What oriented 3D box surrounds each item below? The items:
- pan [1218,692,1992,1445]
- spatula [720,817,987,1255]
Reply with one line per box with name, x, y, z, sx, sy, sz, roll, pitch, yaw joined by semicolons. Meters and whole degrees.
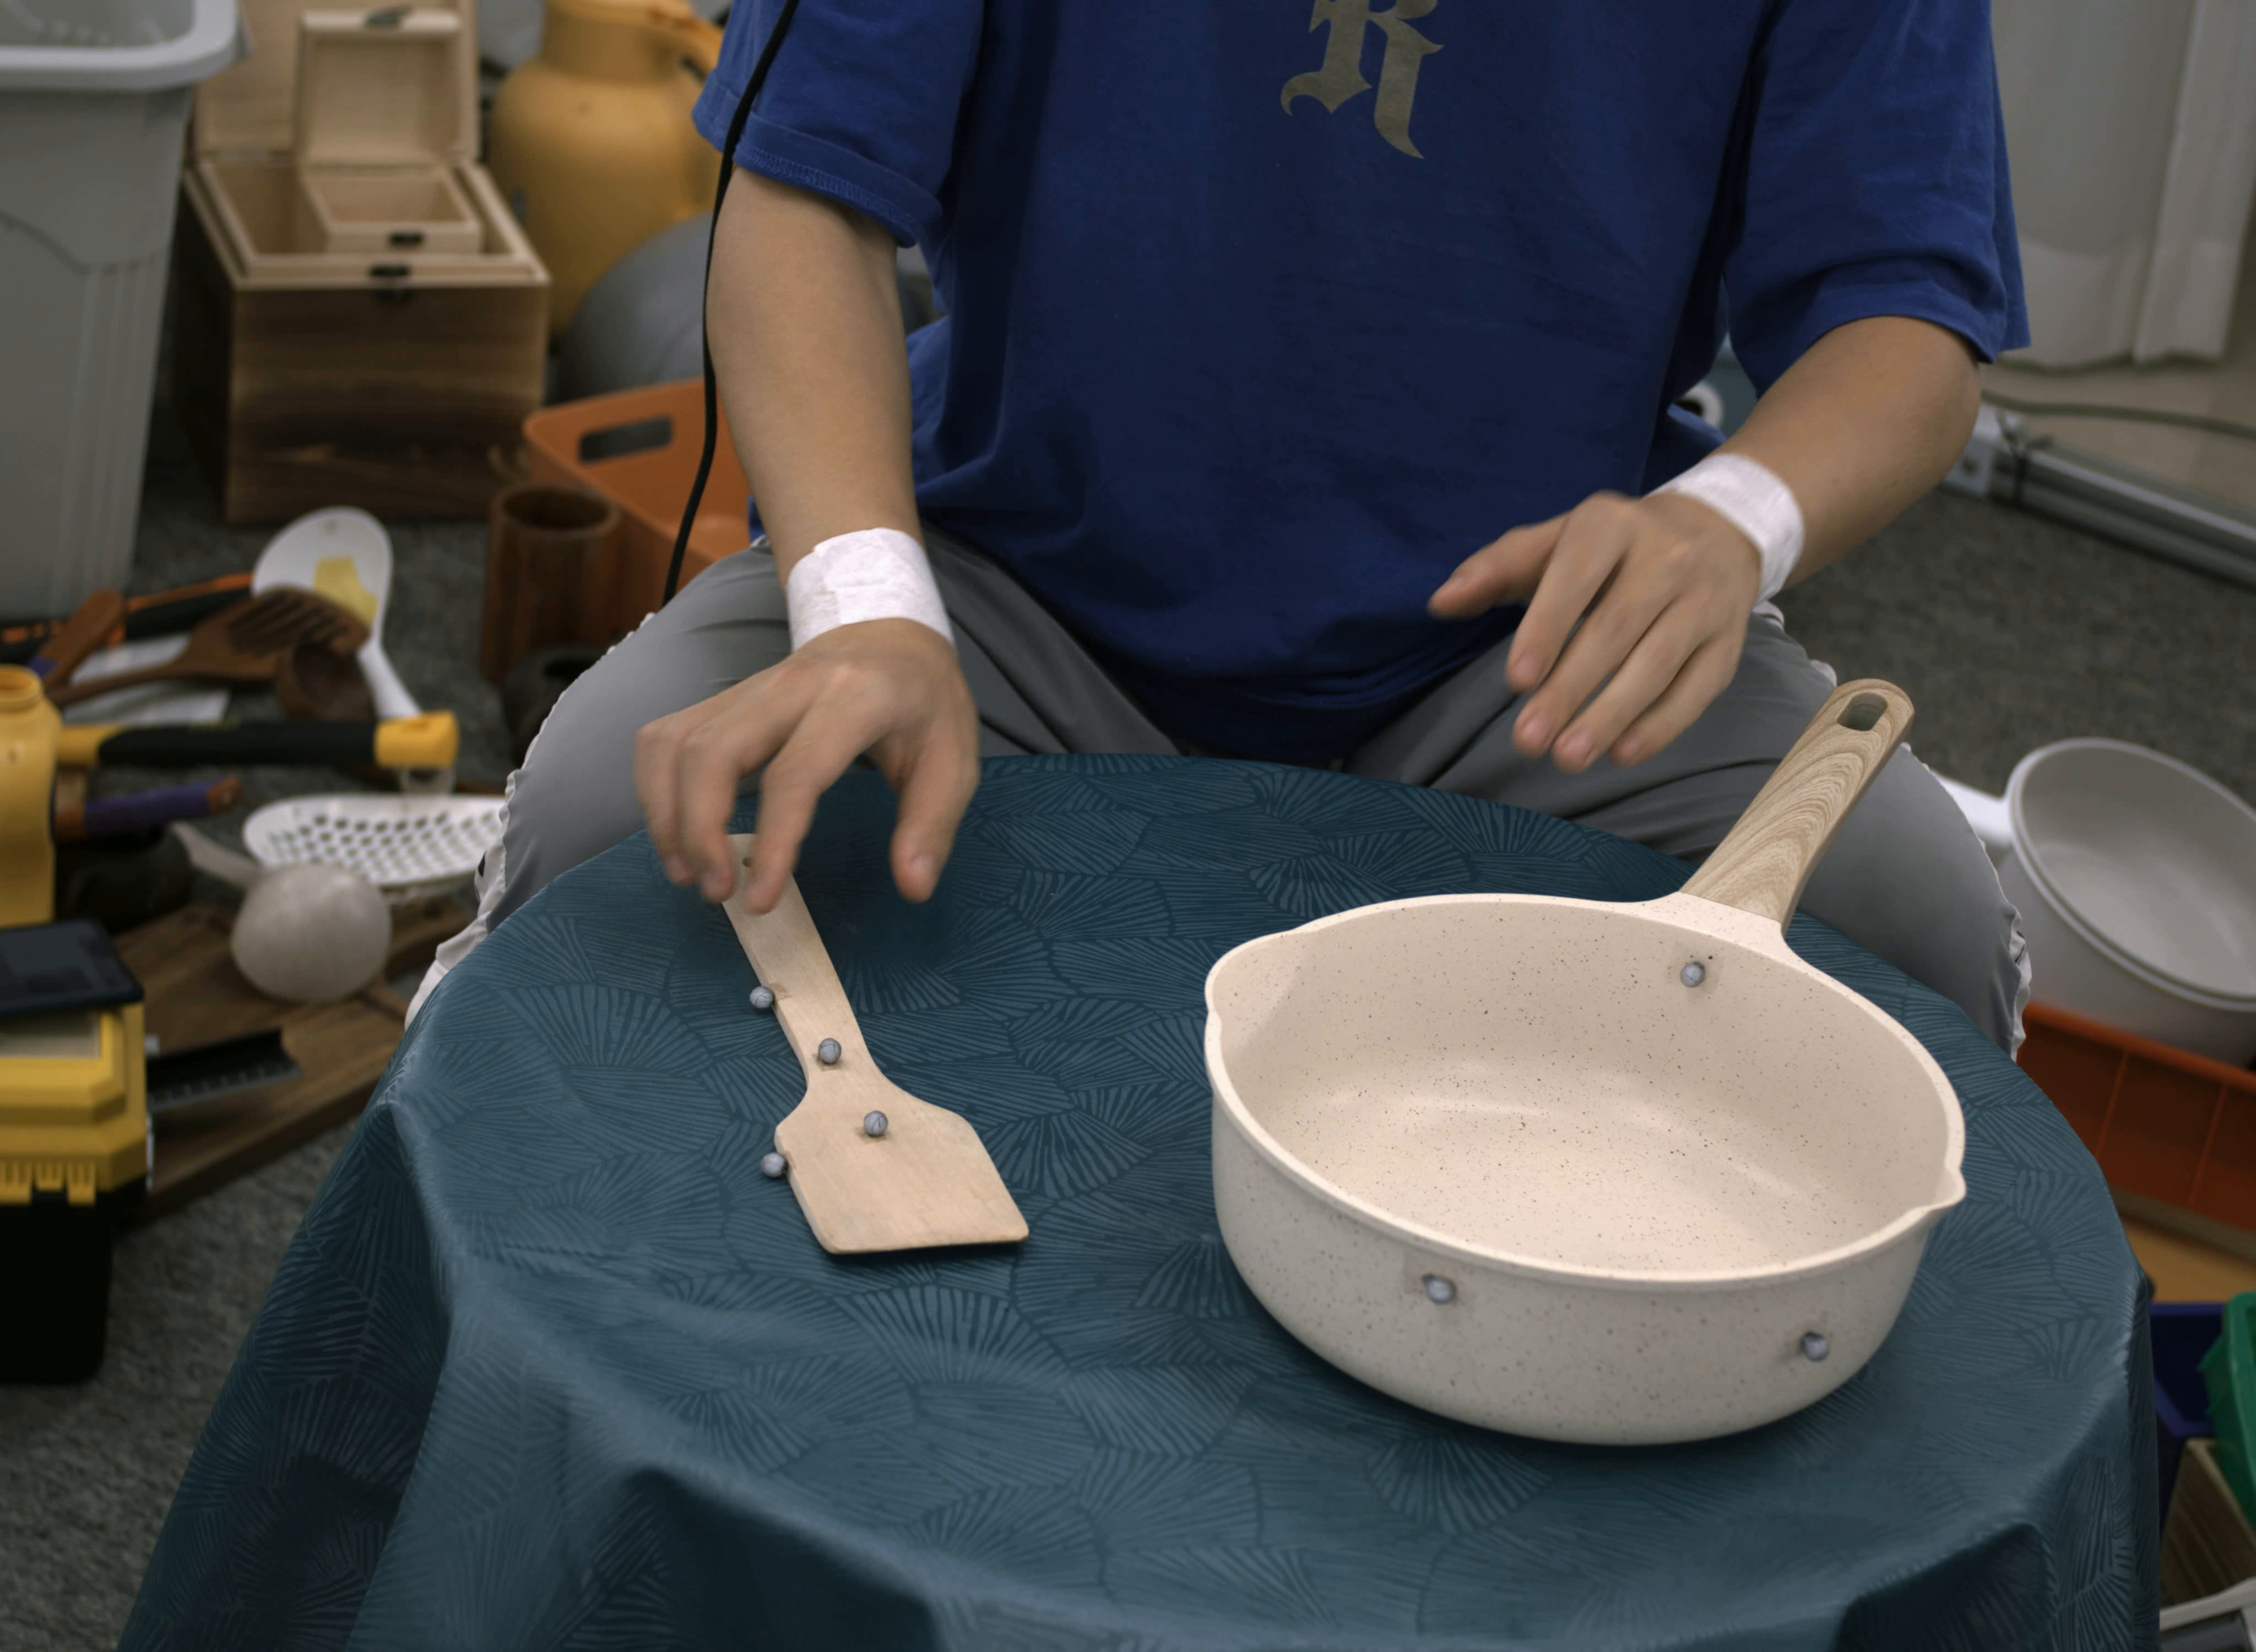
pan;0.189;0.077;1.830;0.264;0.101;0.435;14;27;20
spatula;-0.111;0.070;1.873;0.072;0.010;0.295;-3;30;-13
